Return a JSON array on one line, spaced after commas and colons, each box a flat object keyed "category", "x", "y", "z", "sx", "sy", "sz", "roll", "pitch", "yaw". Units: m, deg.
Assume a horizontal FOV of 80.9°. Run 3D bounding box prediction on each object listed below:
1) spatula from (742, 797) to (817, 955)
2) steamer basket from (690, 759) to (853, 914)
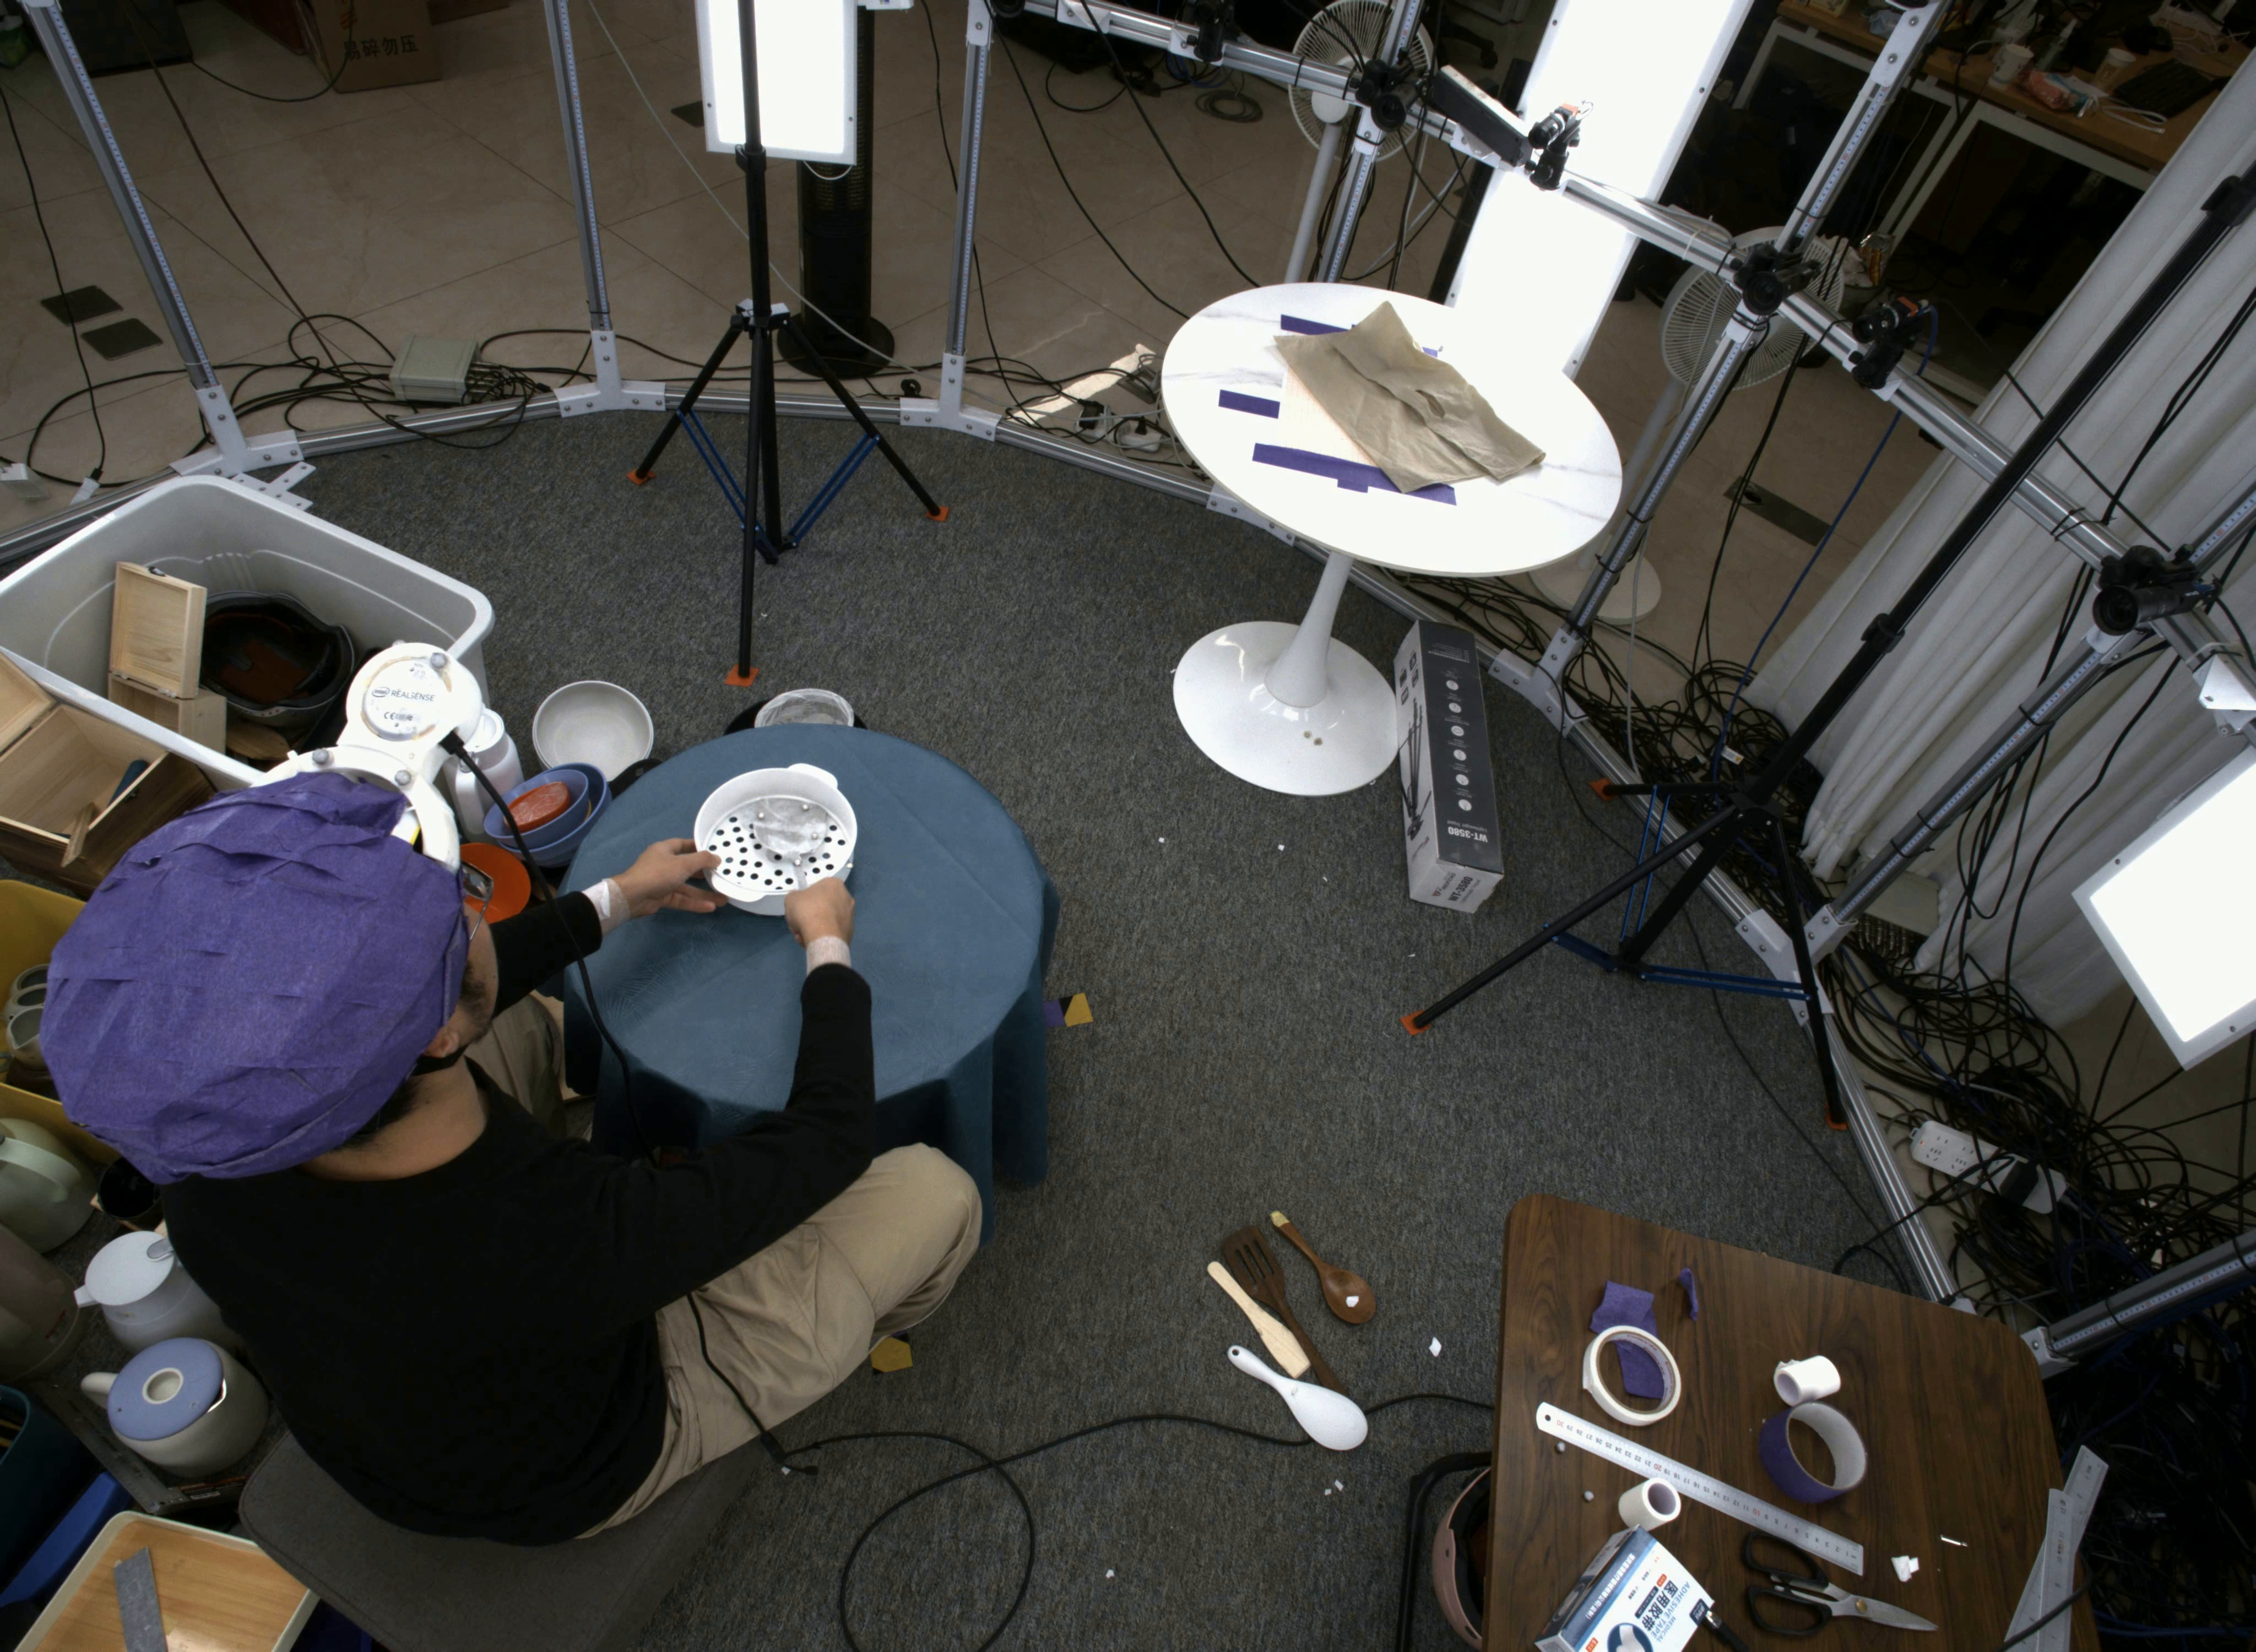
[{"category": "spatula", "x": -0.406, "y": 0.051, "z": 1.568, "sx": 0.100, "sy": 0.045, "sz": 0.352, "roll": 7, "pitch": 20, "yaw": -25}, {"category": "steamer basket", "x": -0.452, "y": 0.017, "z": 1.654, "sx": 0.199, "sy": 0.070, "sz": 0.228, "roll": 21, "pitch": 53, "yaw": 3}]
